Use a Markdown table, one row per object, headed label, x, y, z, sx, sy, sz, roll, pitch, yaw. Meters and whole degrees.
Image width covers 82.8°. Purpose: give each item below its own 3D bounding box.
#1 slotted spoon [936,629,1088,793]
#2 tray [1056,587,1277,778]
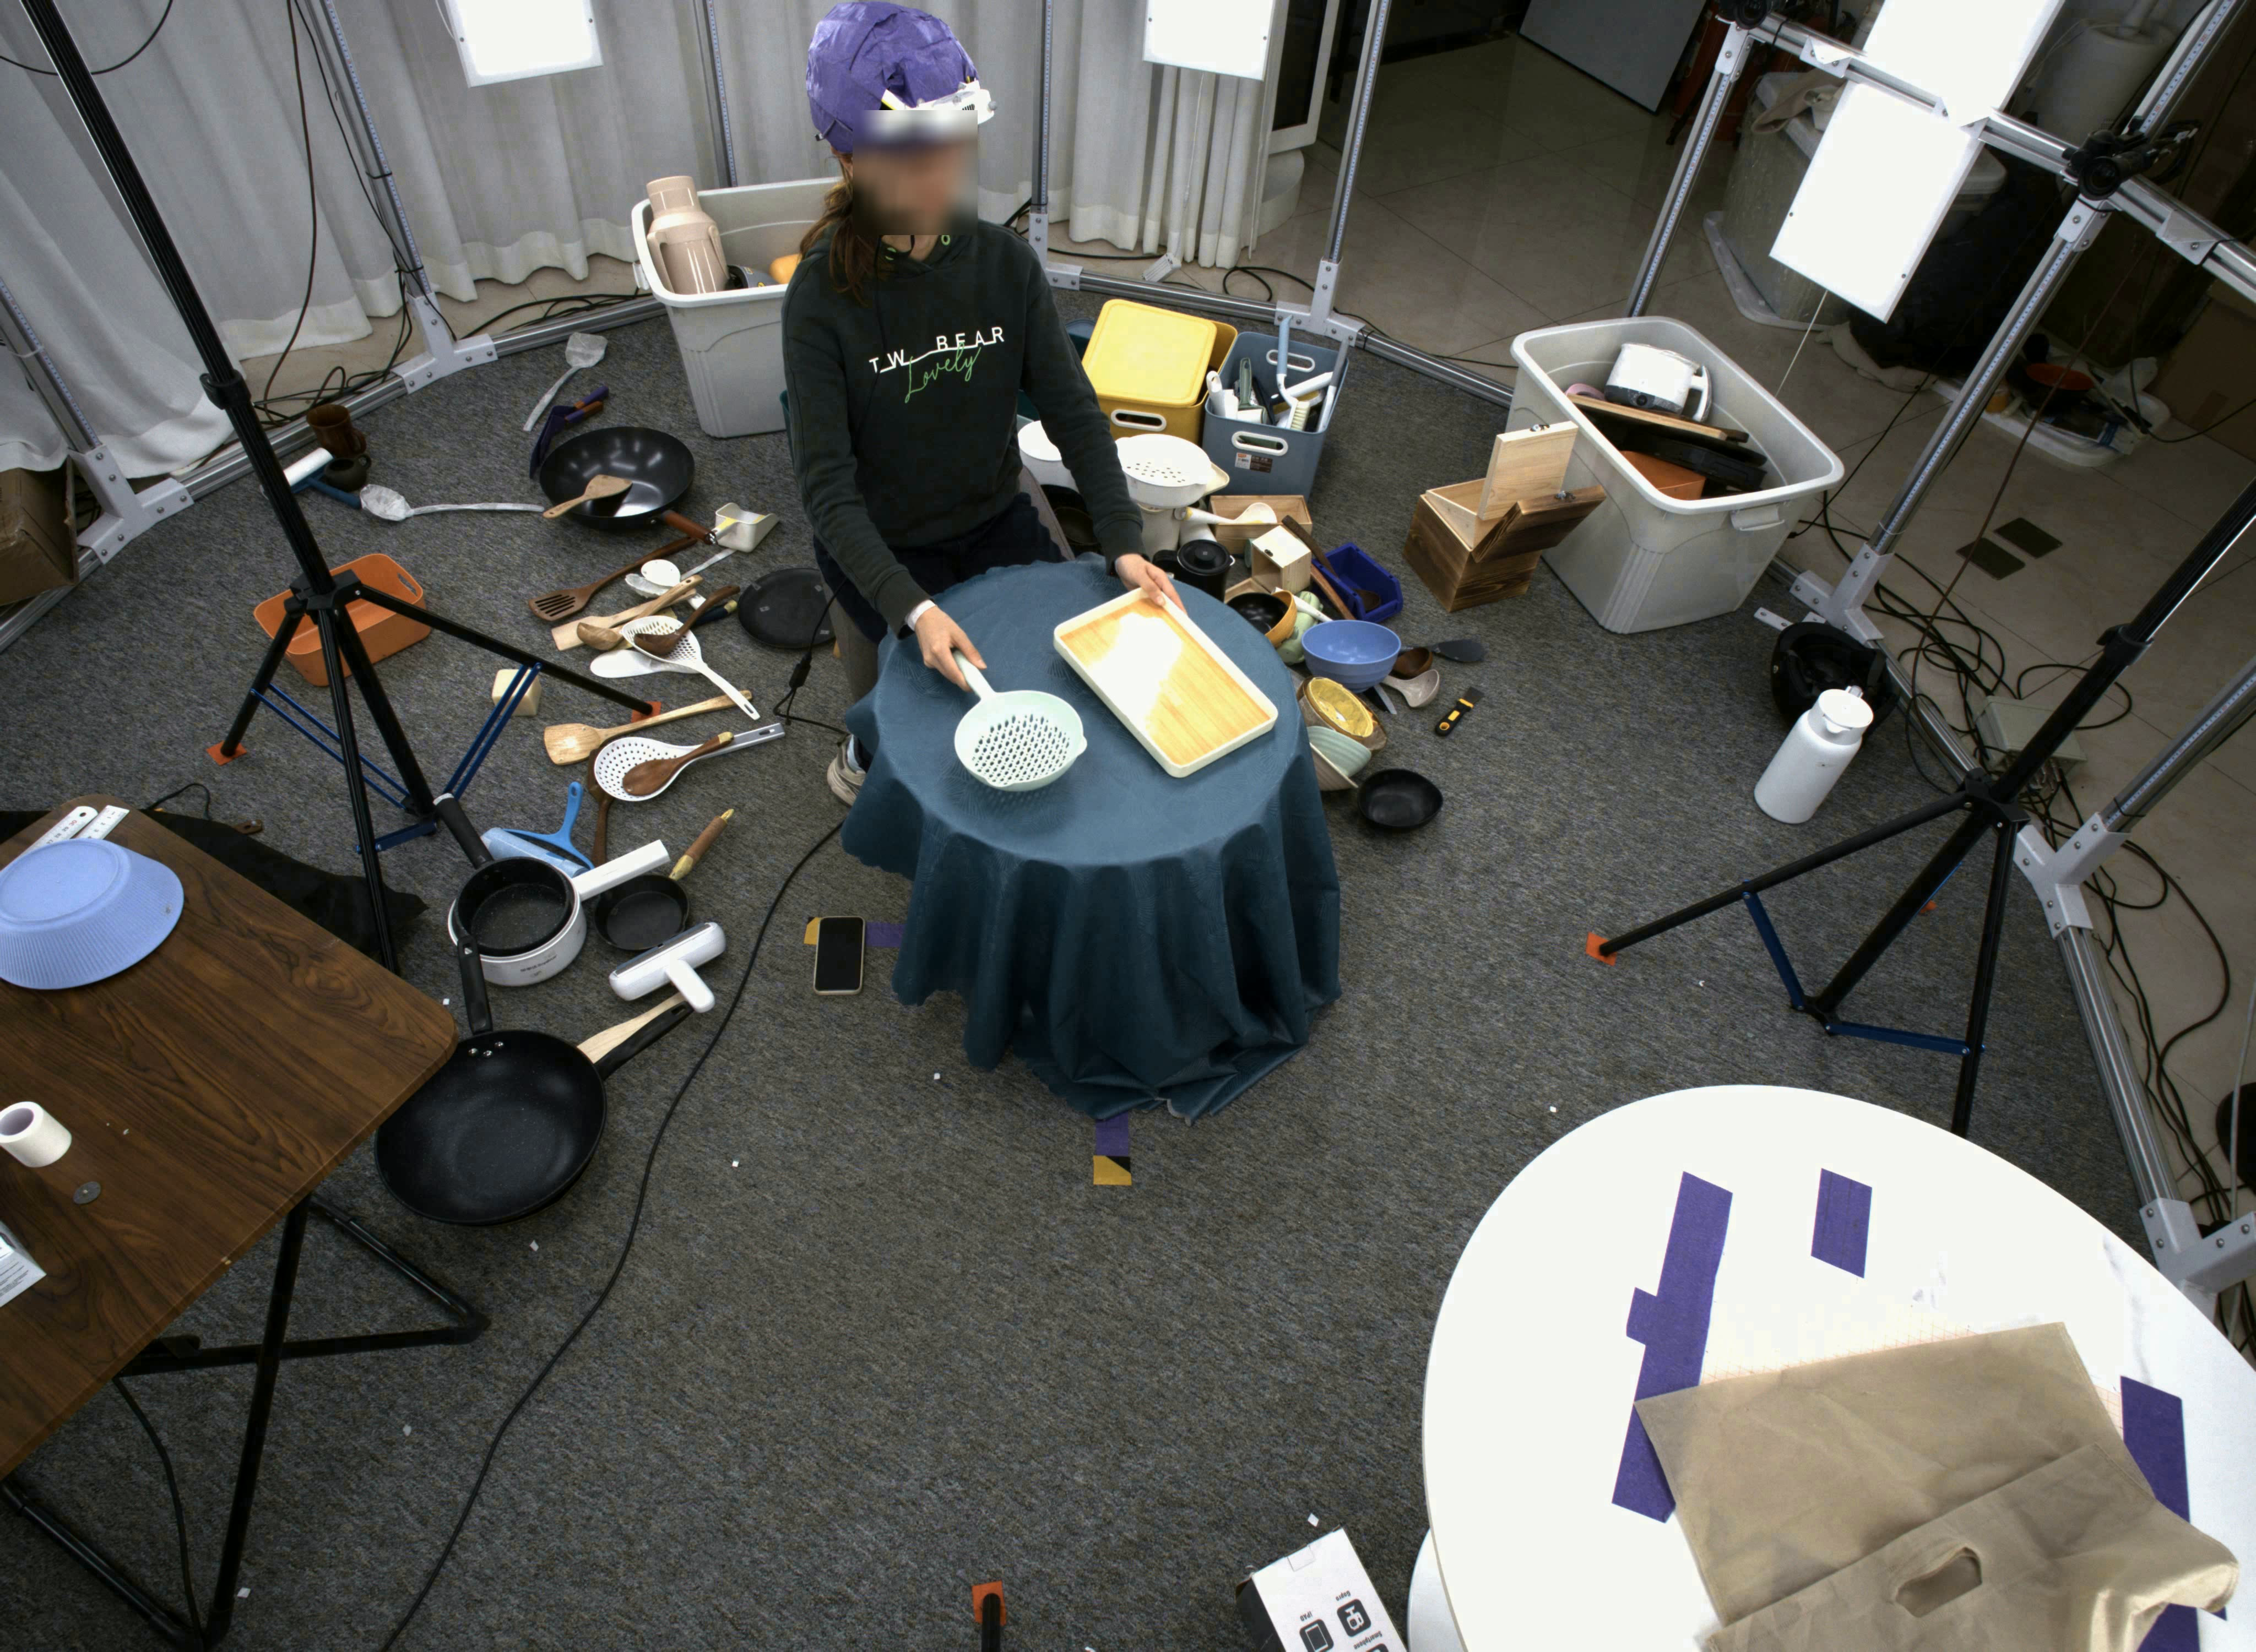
| label | x | y | z | sx | sy | sz | roll | pitch | yaw |
| --- | --- | --- | --- | --- | --- | --- | --- | --- | --- |
| slotted spoon | -0.189 | -0.174 | 1.763 | 0.170 | 0.073 | 0.366 | -24 | 58 | -16 |
| tray | 0.052 | -0.211 | 1.834 | 0.192 | 0.027 | 0.305 | -28 | 62 | -26 |
